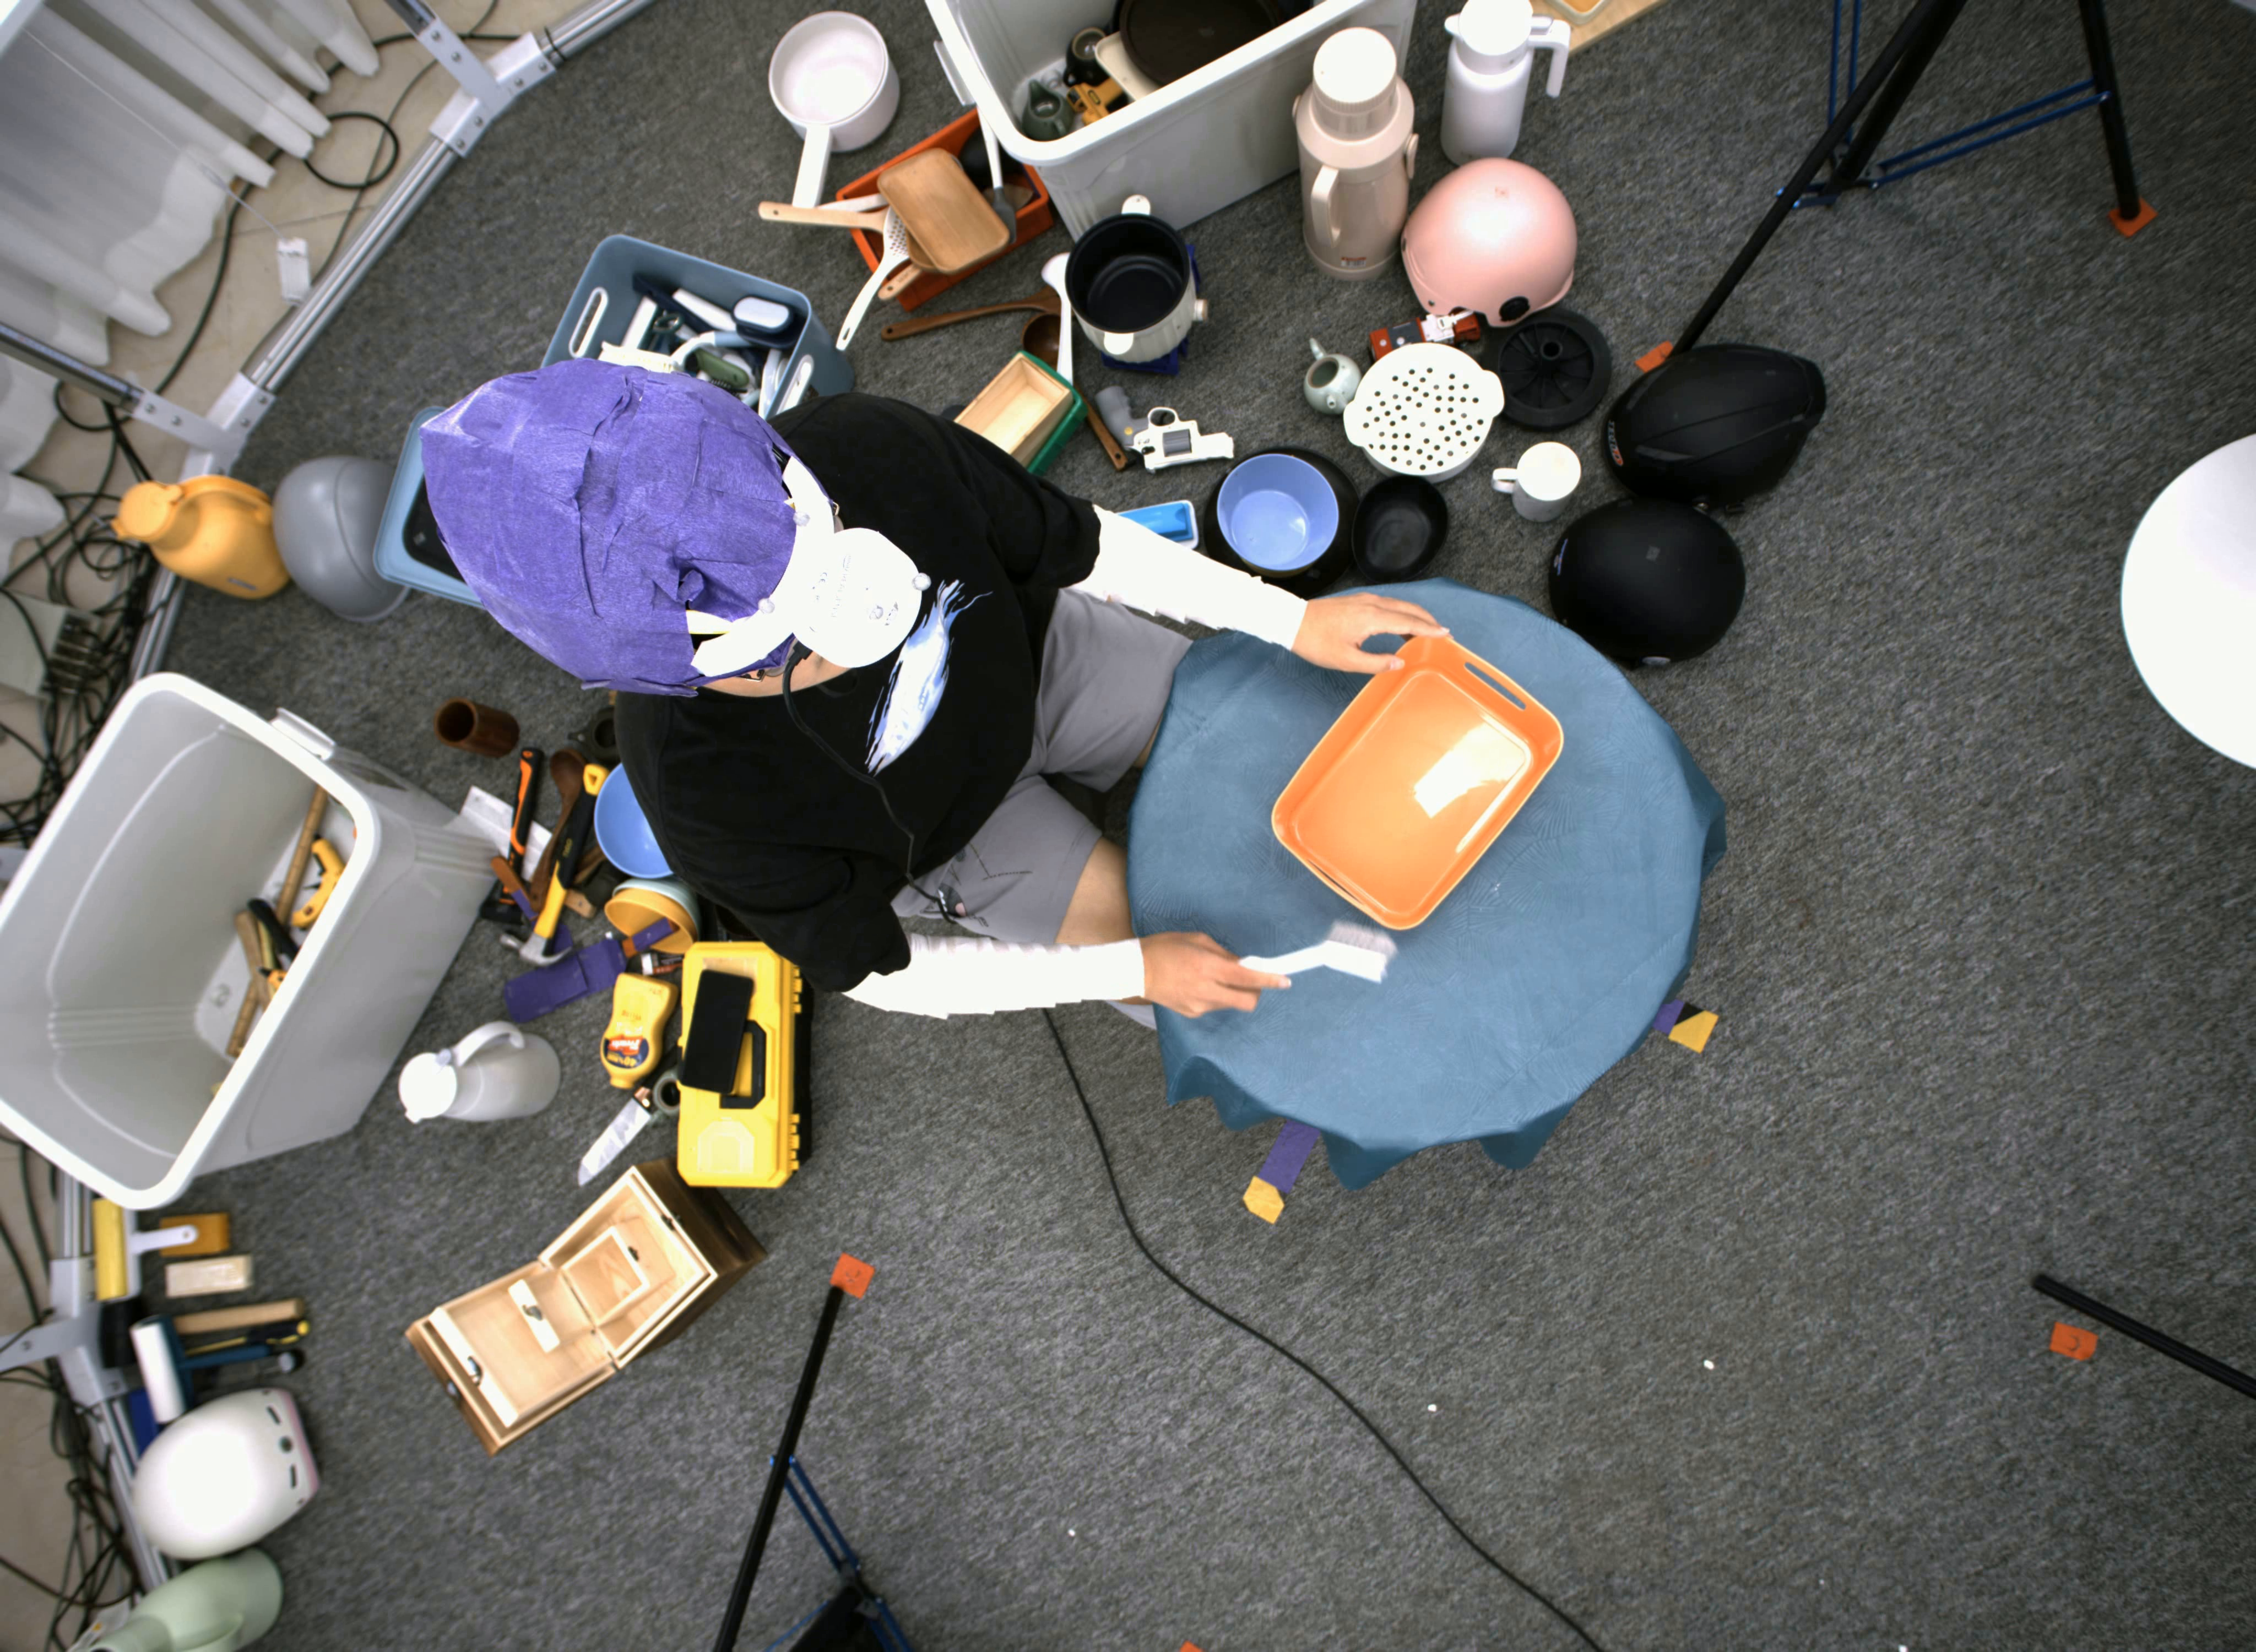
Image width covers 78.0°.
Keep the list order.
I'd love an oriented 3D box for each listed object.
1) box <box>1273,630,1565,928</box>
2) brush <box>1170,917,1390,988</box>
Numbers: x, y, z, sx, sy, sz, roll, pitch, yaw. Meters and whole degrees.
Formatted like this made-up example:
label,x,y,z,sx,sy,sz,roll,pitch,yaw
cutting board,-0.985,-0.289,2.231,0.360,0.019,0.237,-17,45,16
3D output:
label,x,y,z,sx,sy,sz,roll,pitch,yaw
box,0.292,-0.045,1.406,0.199,0.102,0.274,39,94,10
brush,0.147,0.126,1.385,0.247,0.035,0.049,-12,52,37
